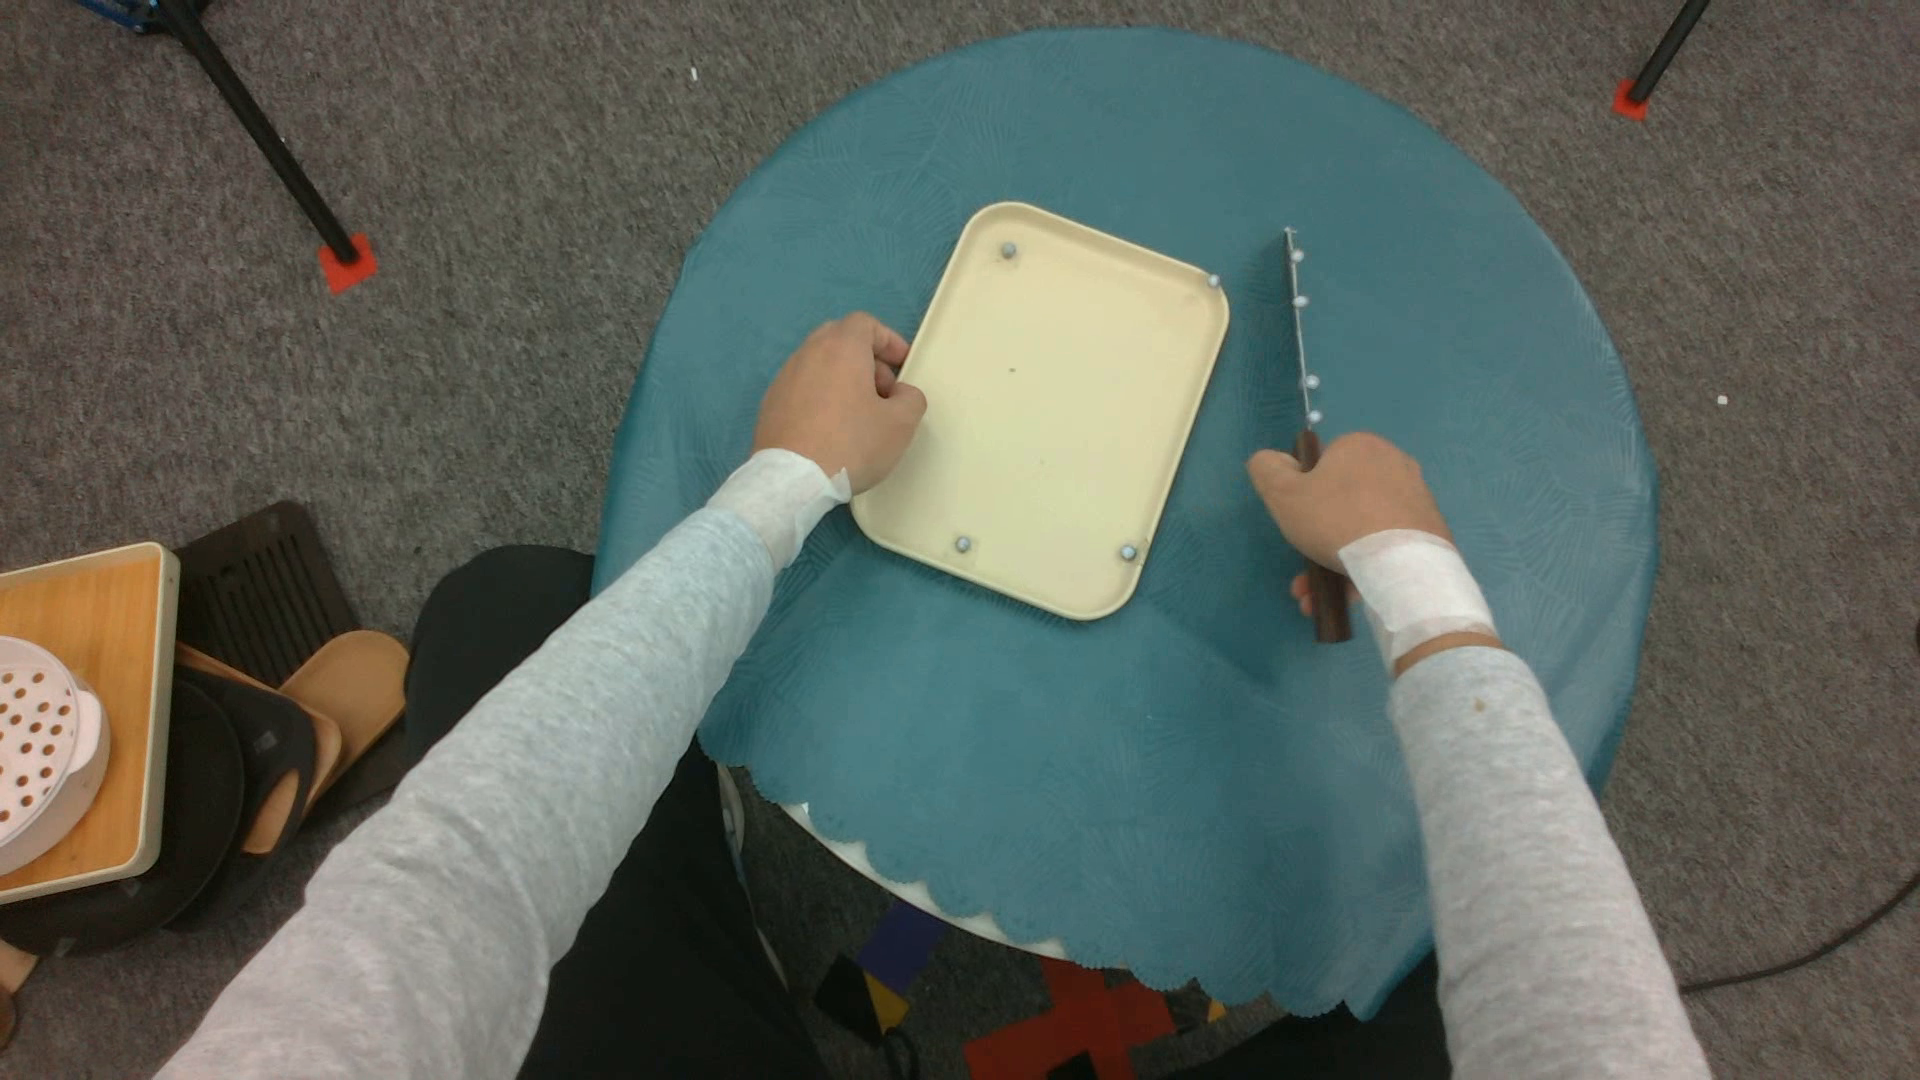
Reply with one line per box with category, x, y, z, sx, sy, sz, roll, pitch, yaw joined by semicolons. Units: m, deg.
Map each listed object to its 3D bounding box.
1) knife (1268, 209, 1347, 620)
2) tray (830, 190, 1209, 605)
knife;0.191;-0.081;0.784;0.020;0.050;0.290;-2;59;5
tray;0.038;-0.087;0.801;0.171;0.017;0.240;21;69;3
